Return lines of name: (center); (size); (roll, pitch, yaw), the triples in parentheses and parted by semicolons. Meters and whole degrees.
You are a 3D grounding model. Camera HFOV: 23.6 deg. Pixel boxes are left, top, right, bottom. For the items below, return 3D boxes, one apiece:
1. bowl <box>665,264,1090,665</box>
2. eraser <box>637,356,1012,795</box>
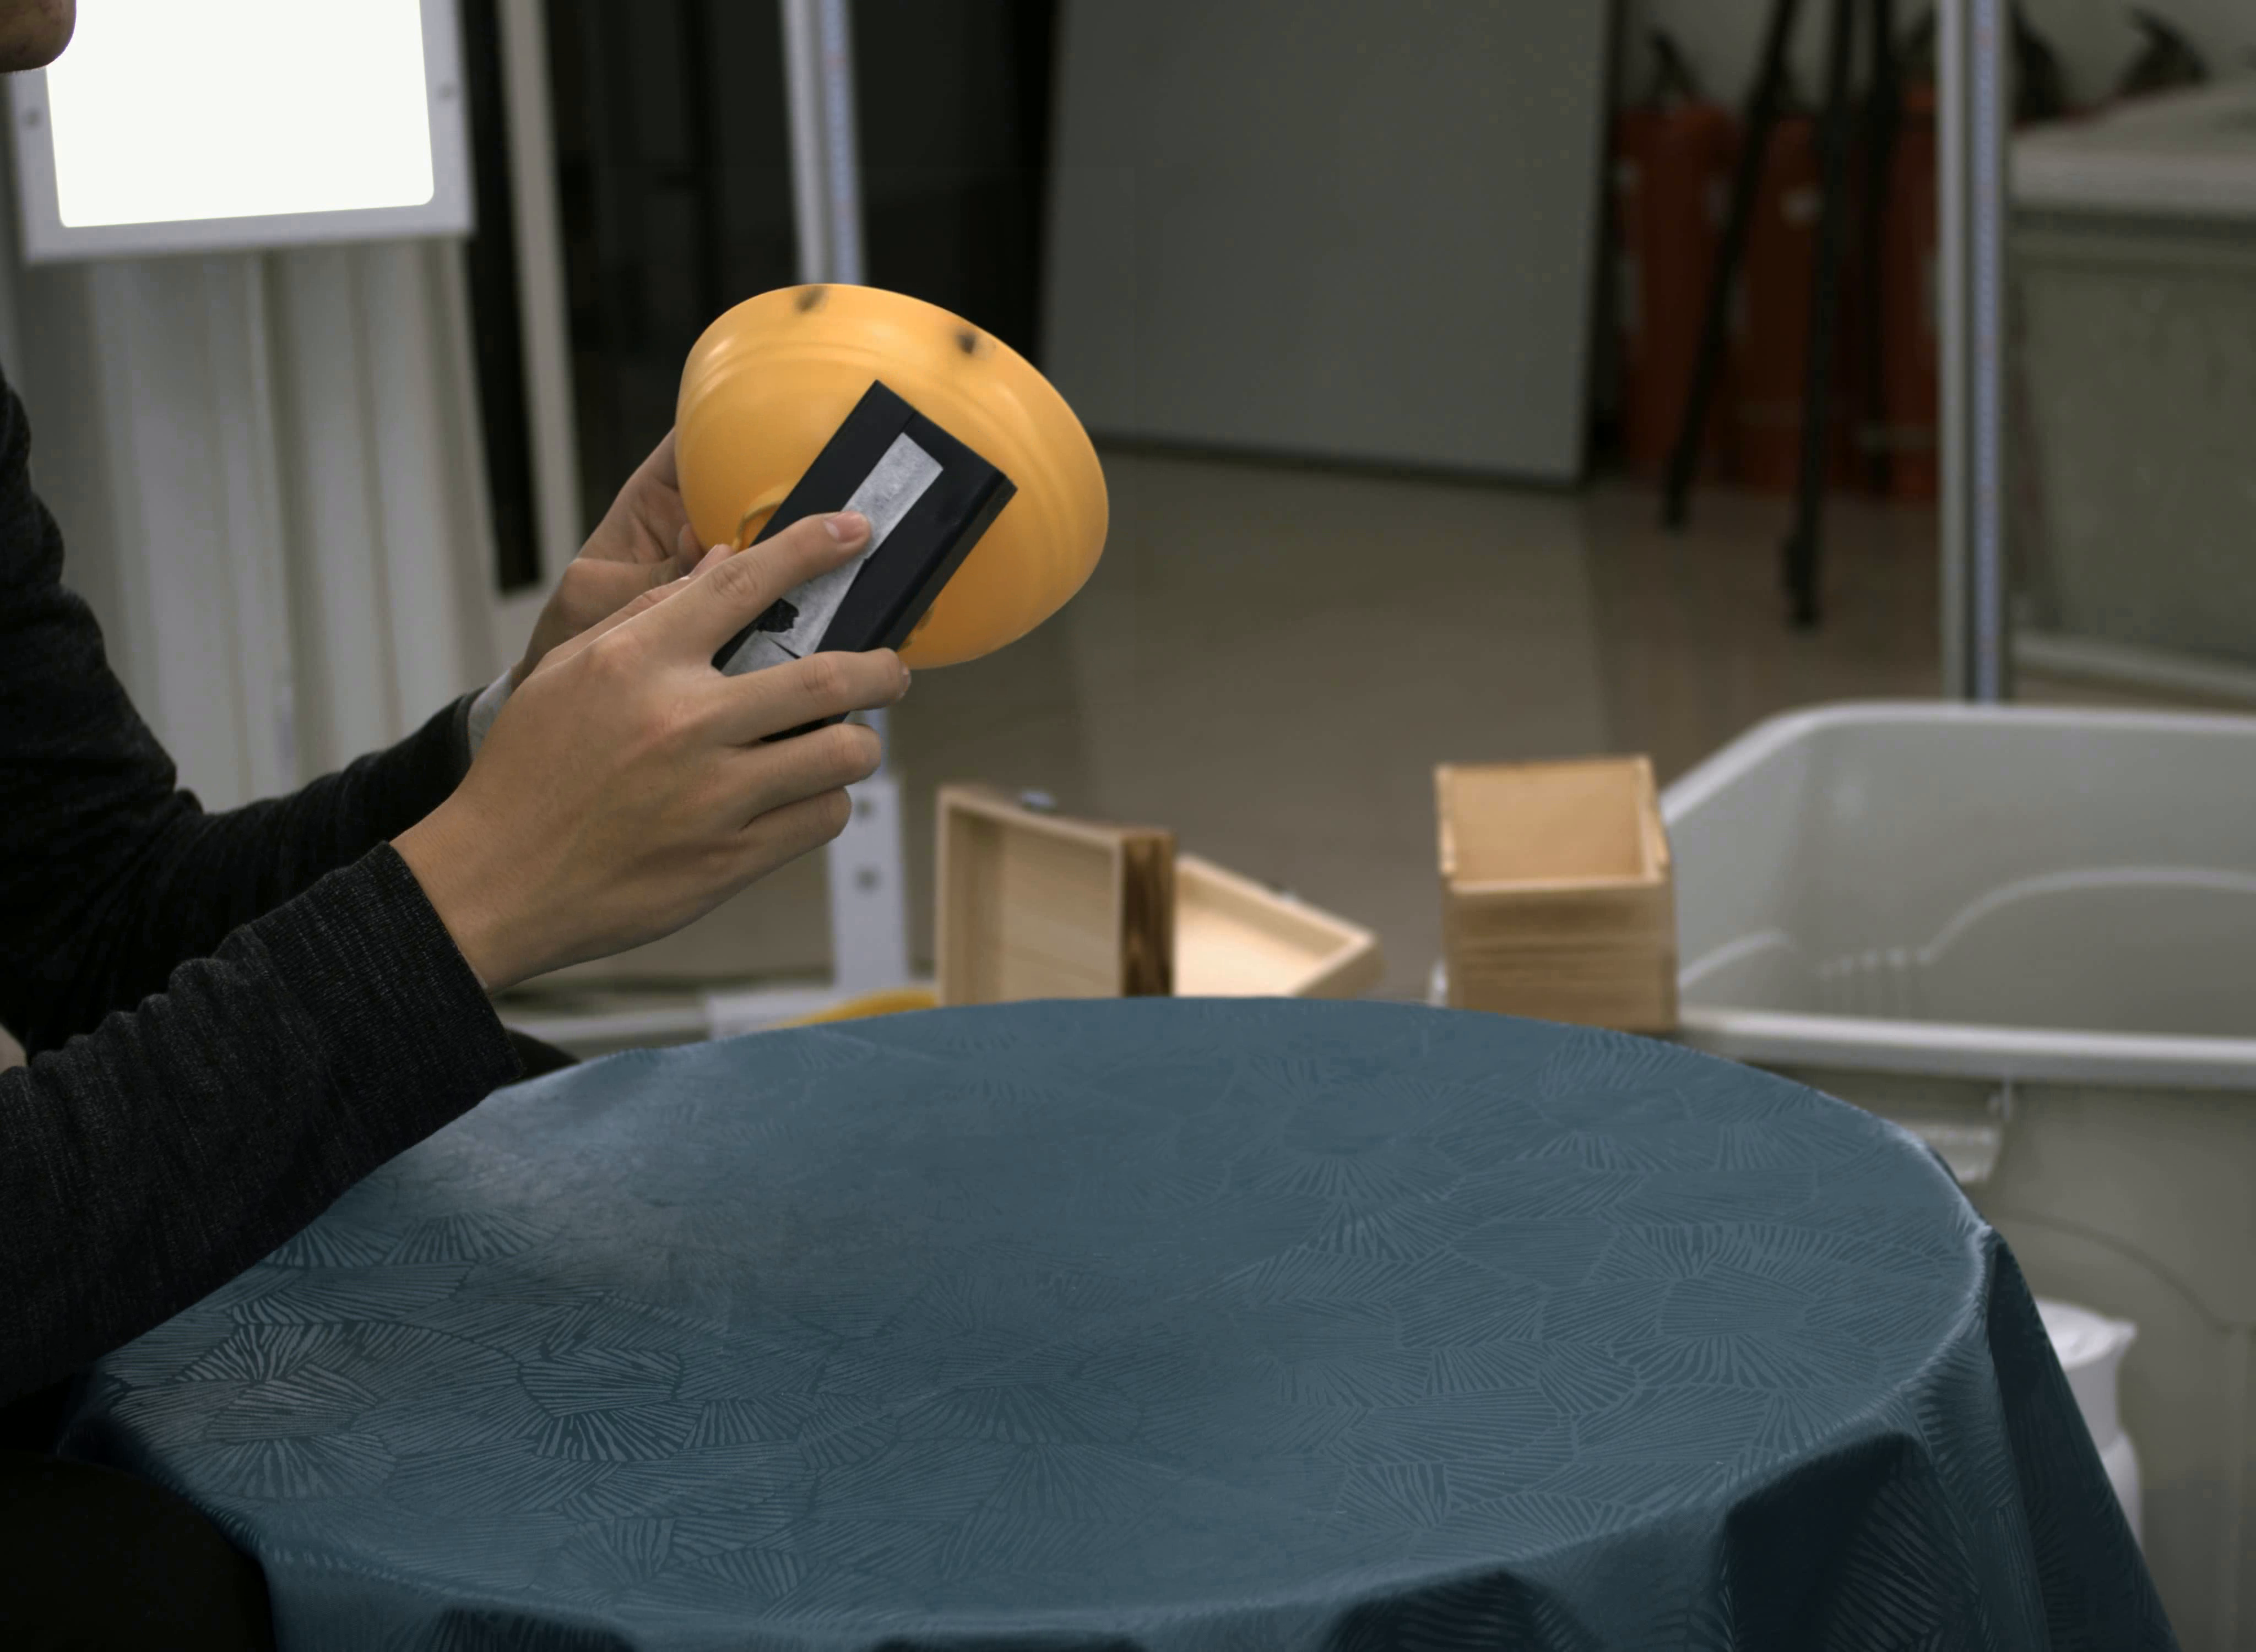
bowl: (-0.088, -0.099, 1.684); (0.146, 0.145, 0.060); (4, 43, 28)
eraser: (-0.089, -0.075, 1.613); (0.053, 0.126, 0.030); (33, -5, 13)
